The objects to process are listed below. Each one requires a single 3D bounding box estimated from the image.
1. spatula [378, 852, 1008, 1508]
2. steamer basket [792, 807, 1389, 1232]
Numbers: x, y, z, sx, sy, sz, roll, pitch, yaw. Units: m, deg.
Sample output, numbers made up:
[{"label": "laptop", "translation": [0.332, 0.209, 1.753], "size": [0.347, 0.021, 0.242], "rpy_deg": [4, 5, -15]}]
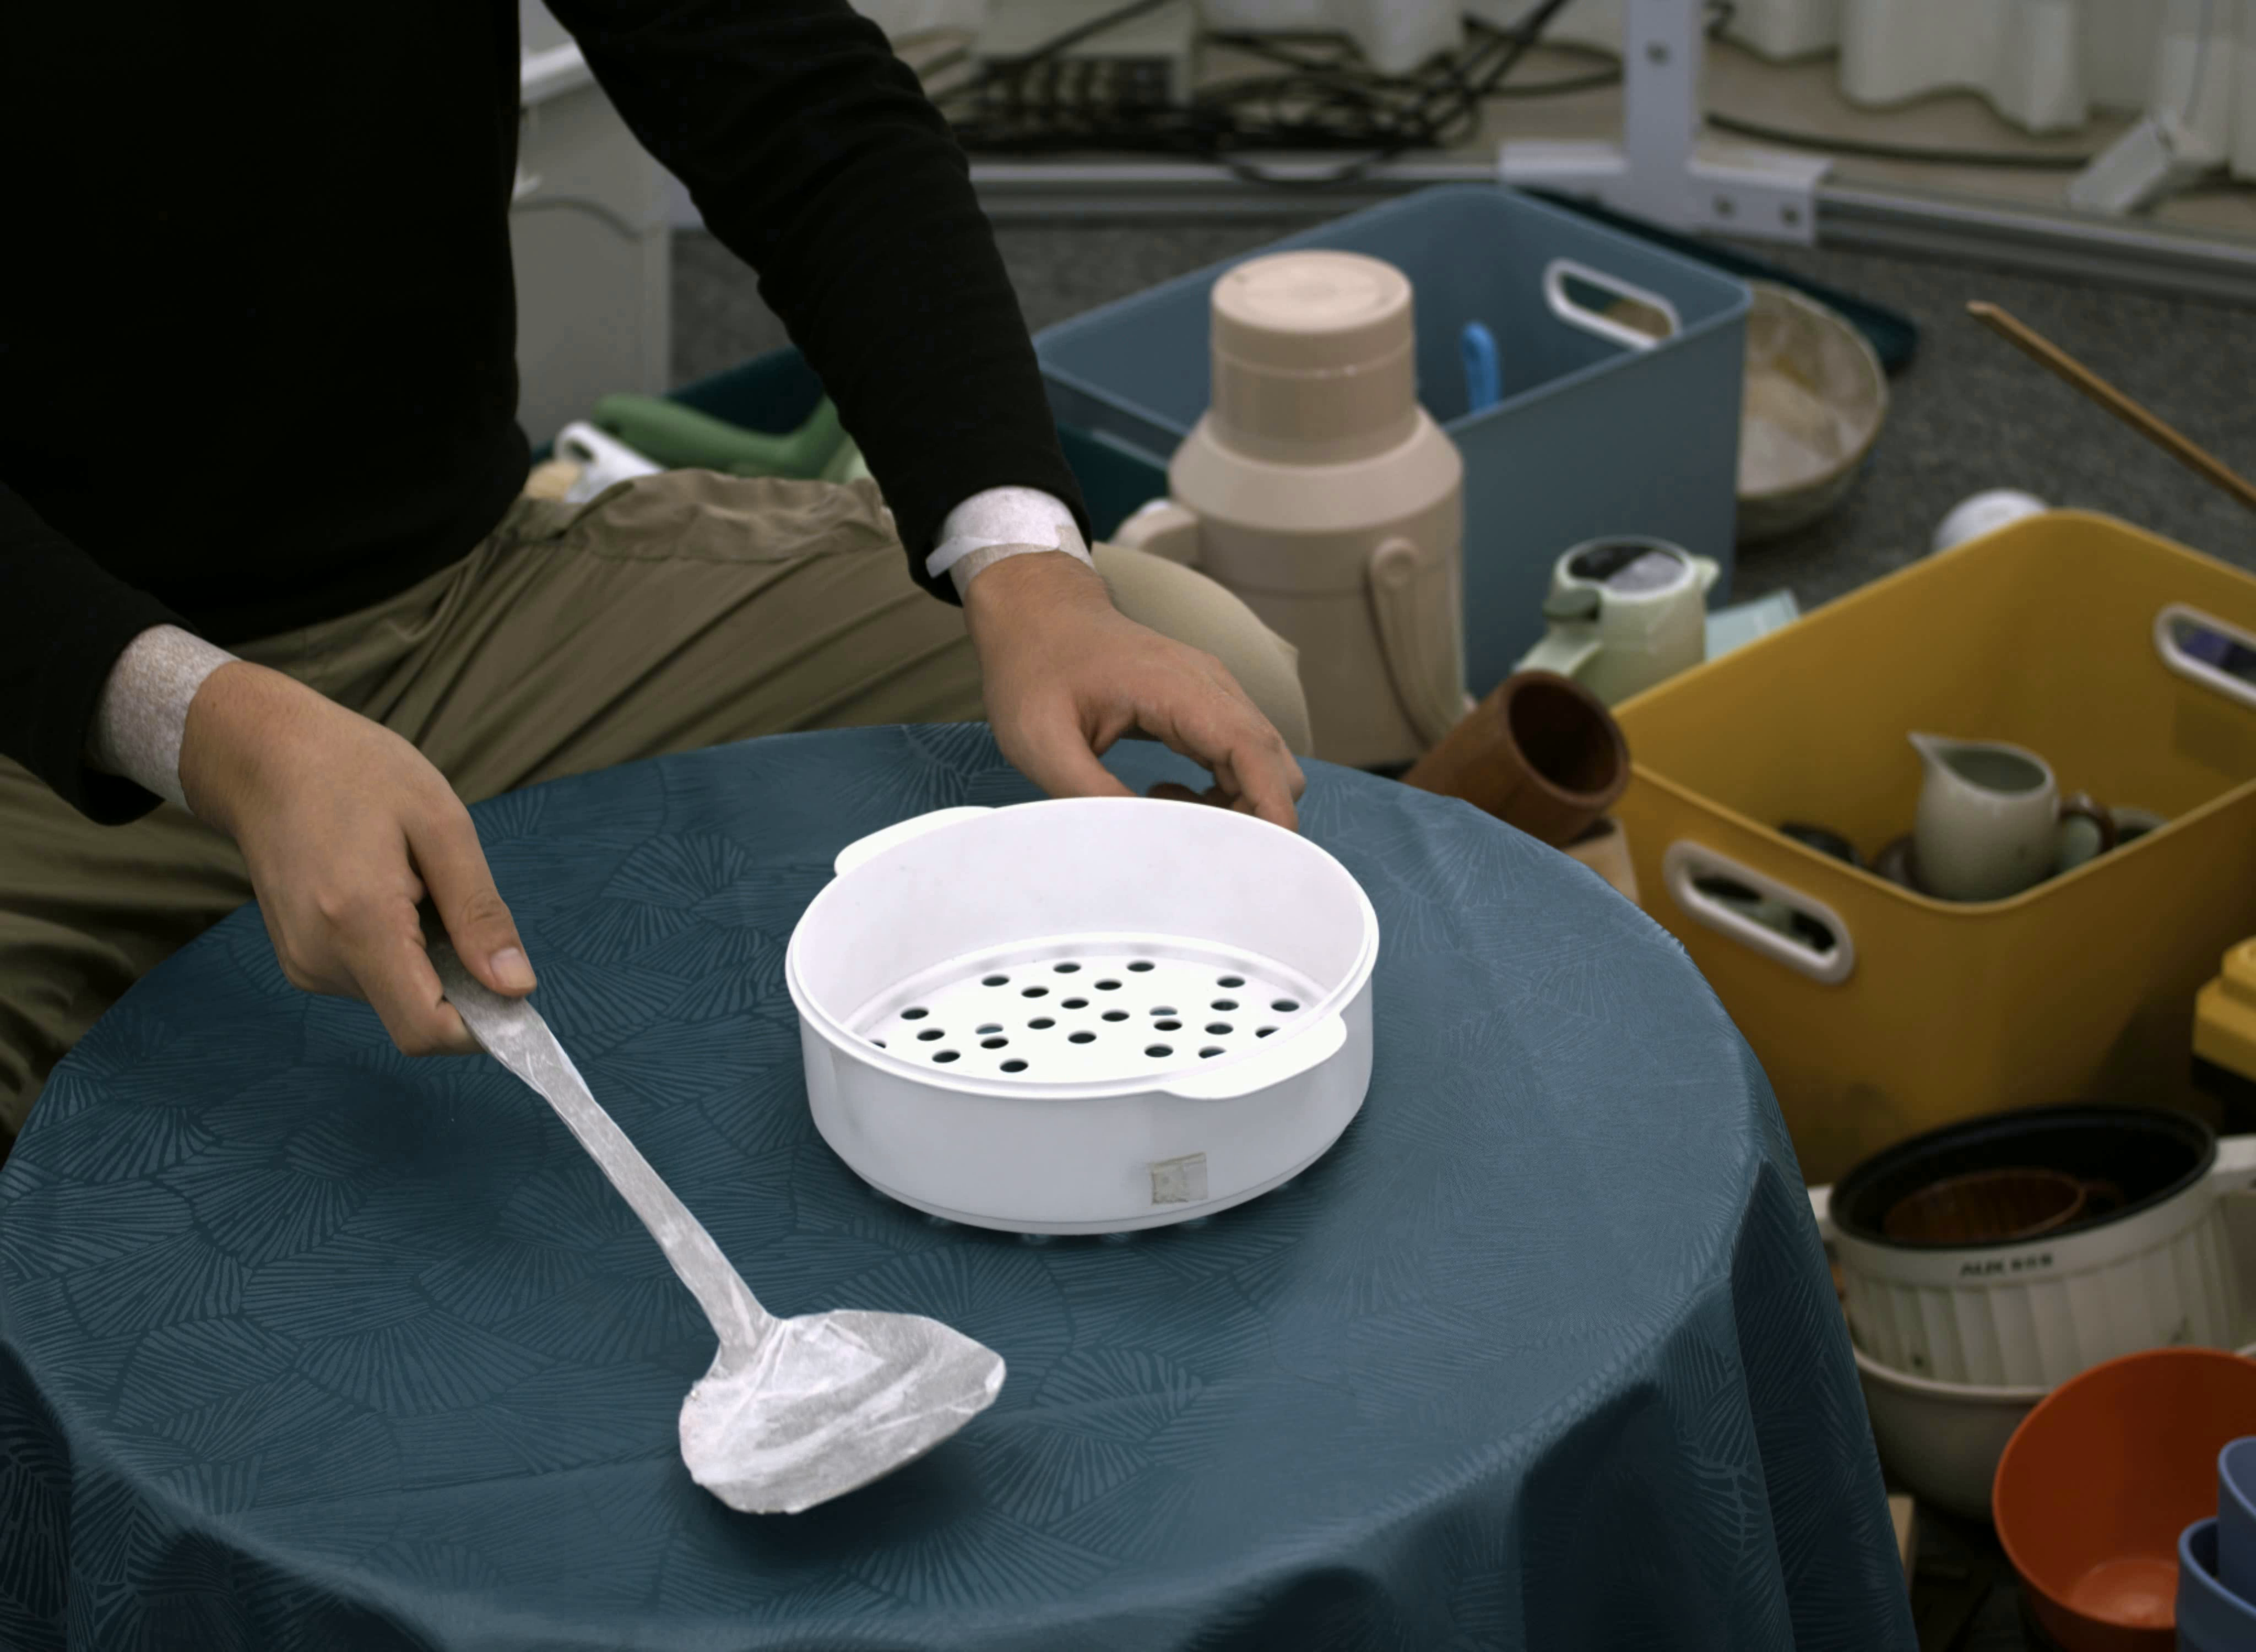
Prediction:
[{"label": "spatula", "translation": [-0.162, 0.101, 1.799], "size": [0.099, 0.044, 0.368], "rpy_deg": [-27, 48, -19]}, {"label": "steamer basket", "translation": [-0.011, 0.066, 1.895], "size": [0.203, 0.068, 0.231], "rpy_deg": [-19, 31, -31]}]
